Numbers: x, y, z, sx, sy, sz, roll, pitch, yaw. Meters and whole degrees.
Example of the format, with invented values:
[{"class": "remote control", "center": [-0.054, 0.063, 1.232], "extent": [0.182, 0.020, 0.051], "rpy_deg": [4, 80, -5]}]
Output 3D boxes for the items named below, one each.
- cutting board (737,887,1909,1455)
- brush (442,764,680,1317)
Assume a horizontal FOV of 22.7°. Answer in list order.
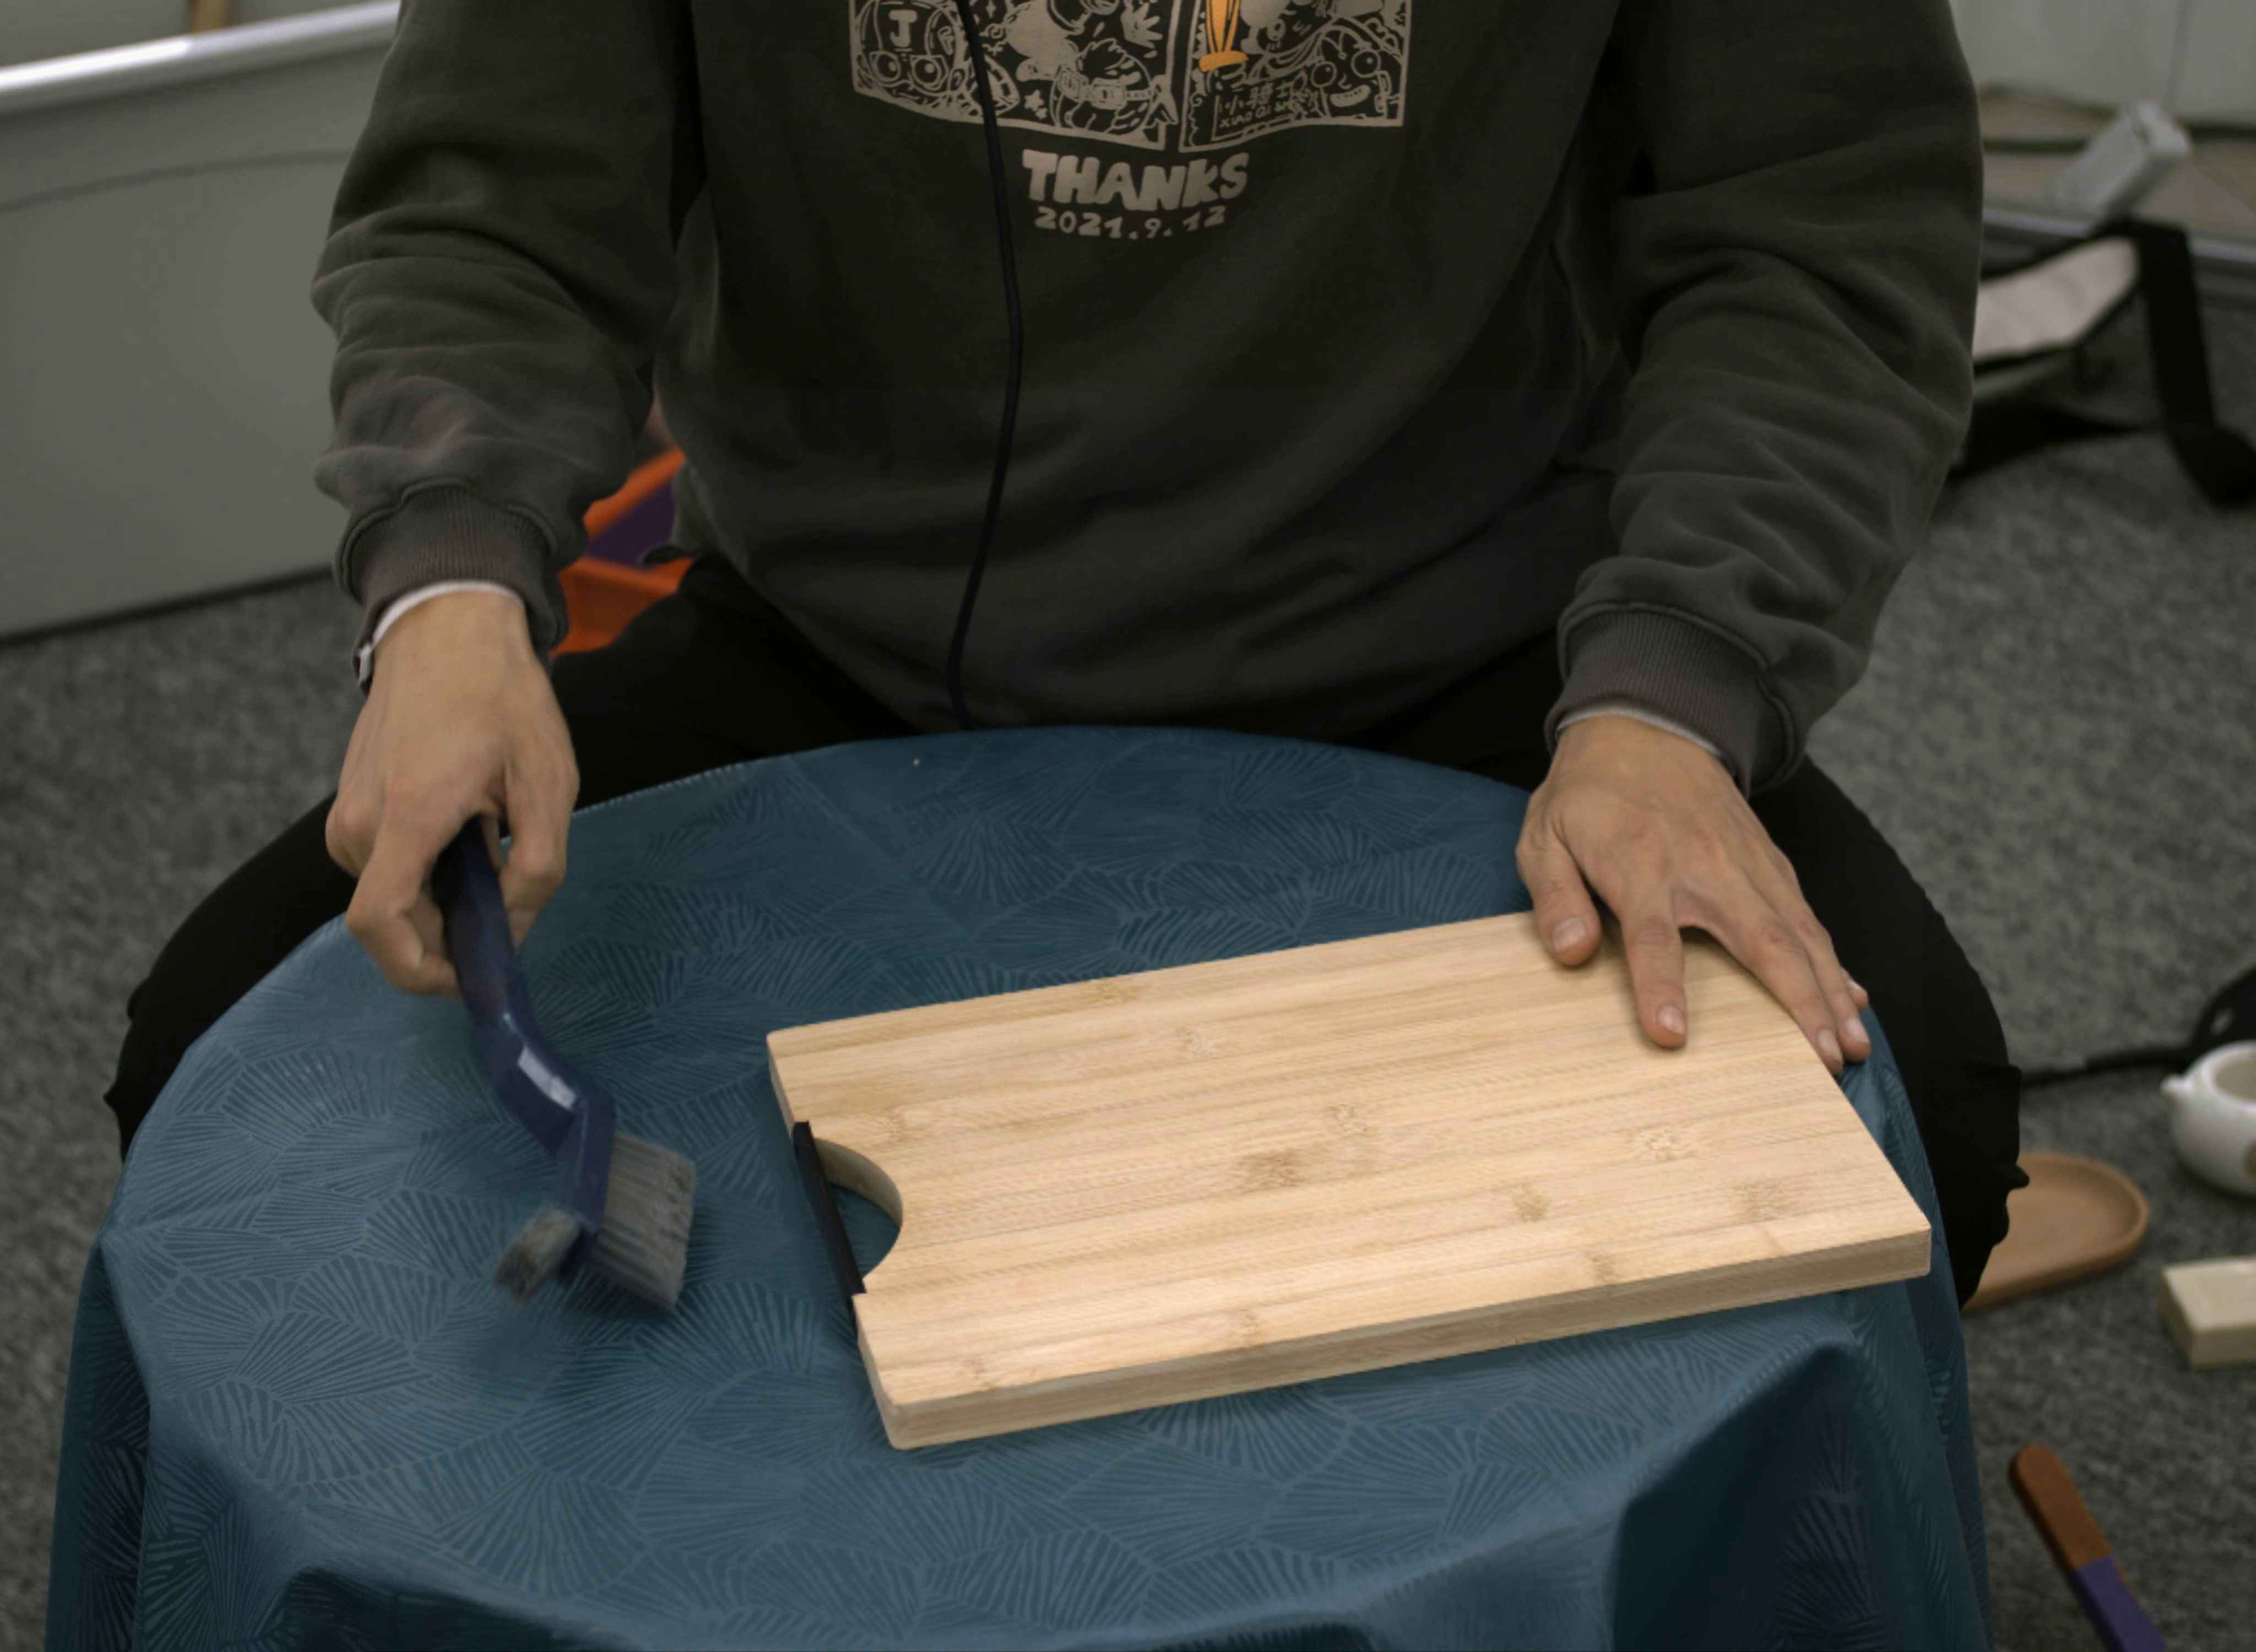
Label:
[{"class": "cutting board", "center": [0.060, 0.109, 1.861], "extent": [0.348, 0.023, 0.253], "rpy_deg": [-9, 28, -11]}, {"class": "brush", "center": [-0.214, 0.069, 1.884], "extent": [0.096, 0.033, 0.276], "rpy_deg": [8, 32, -31]}]
